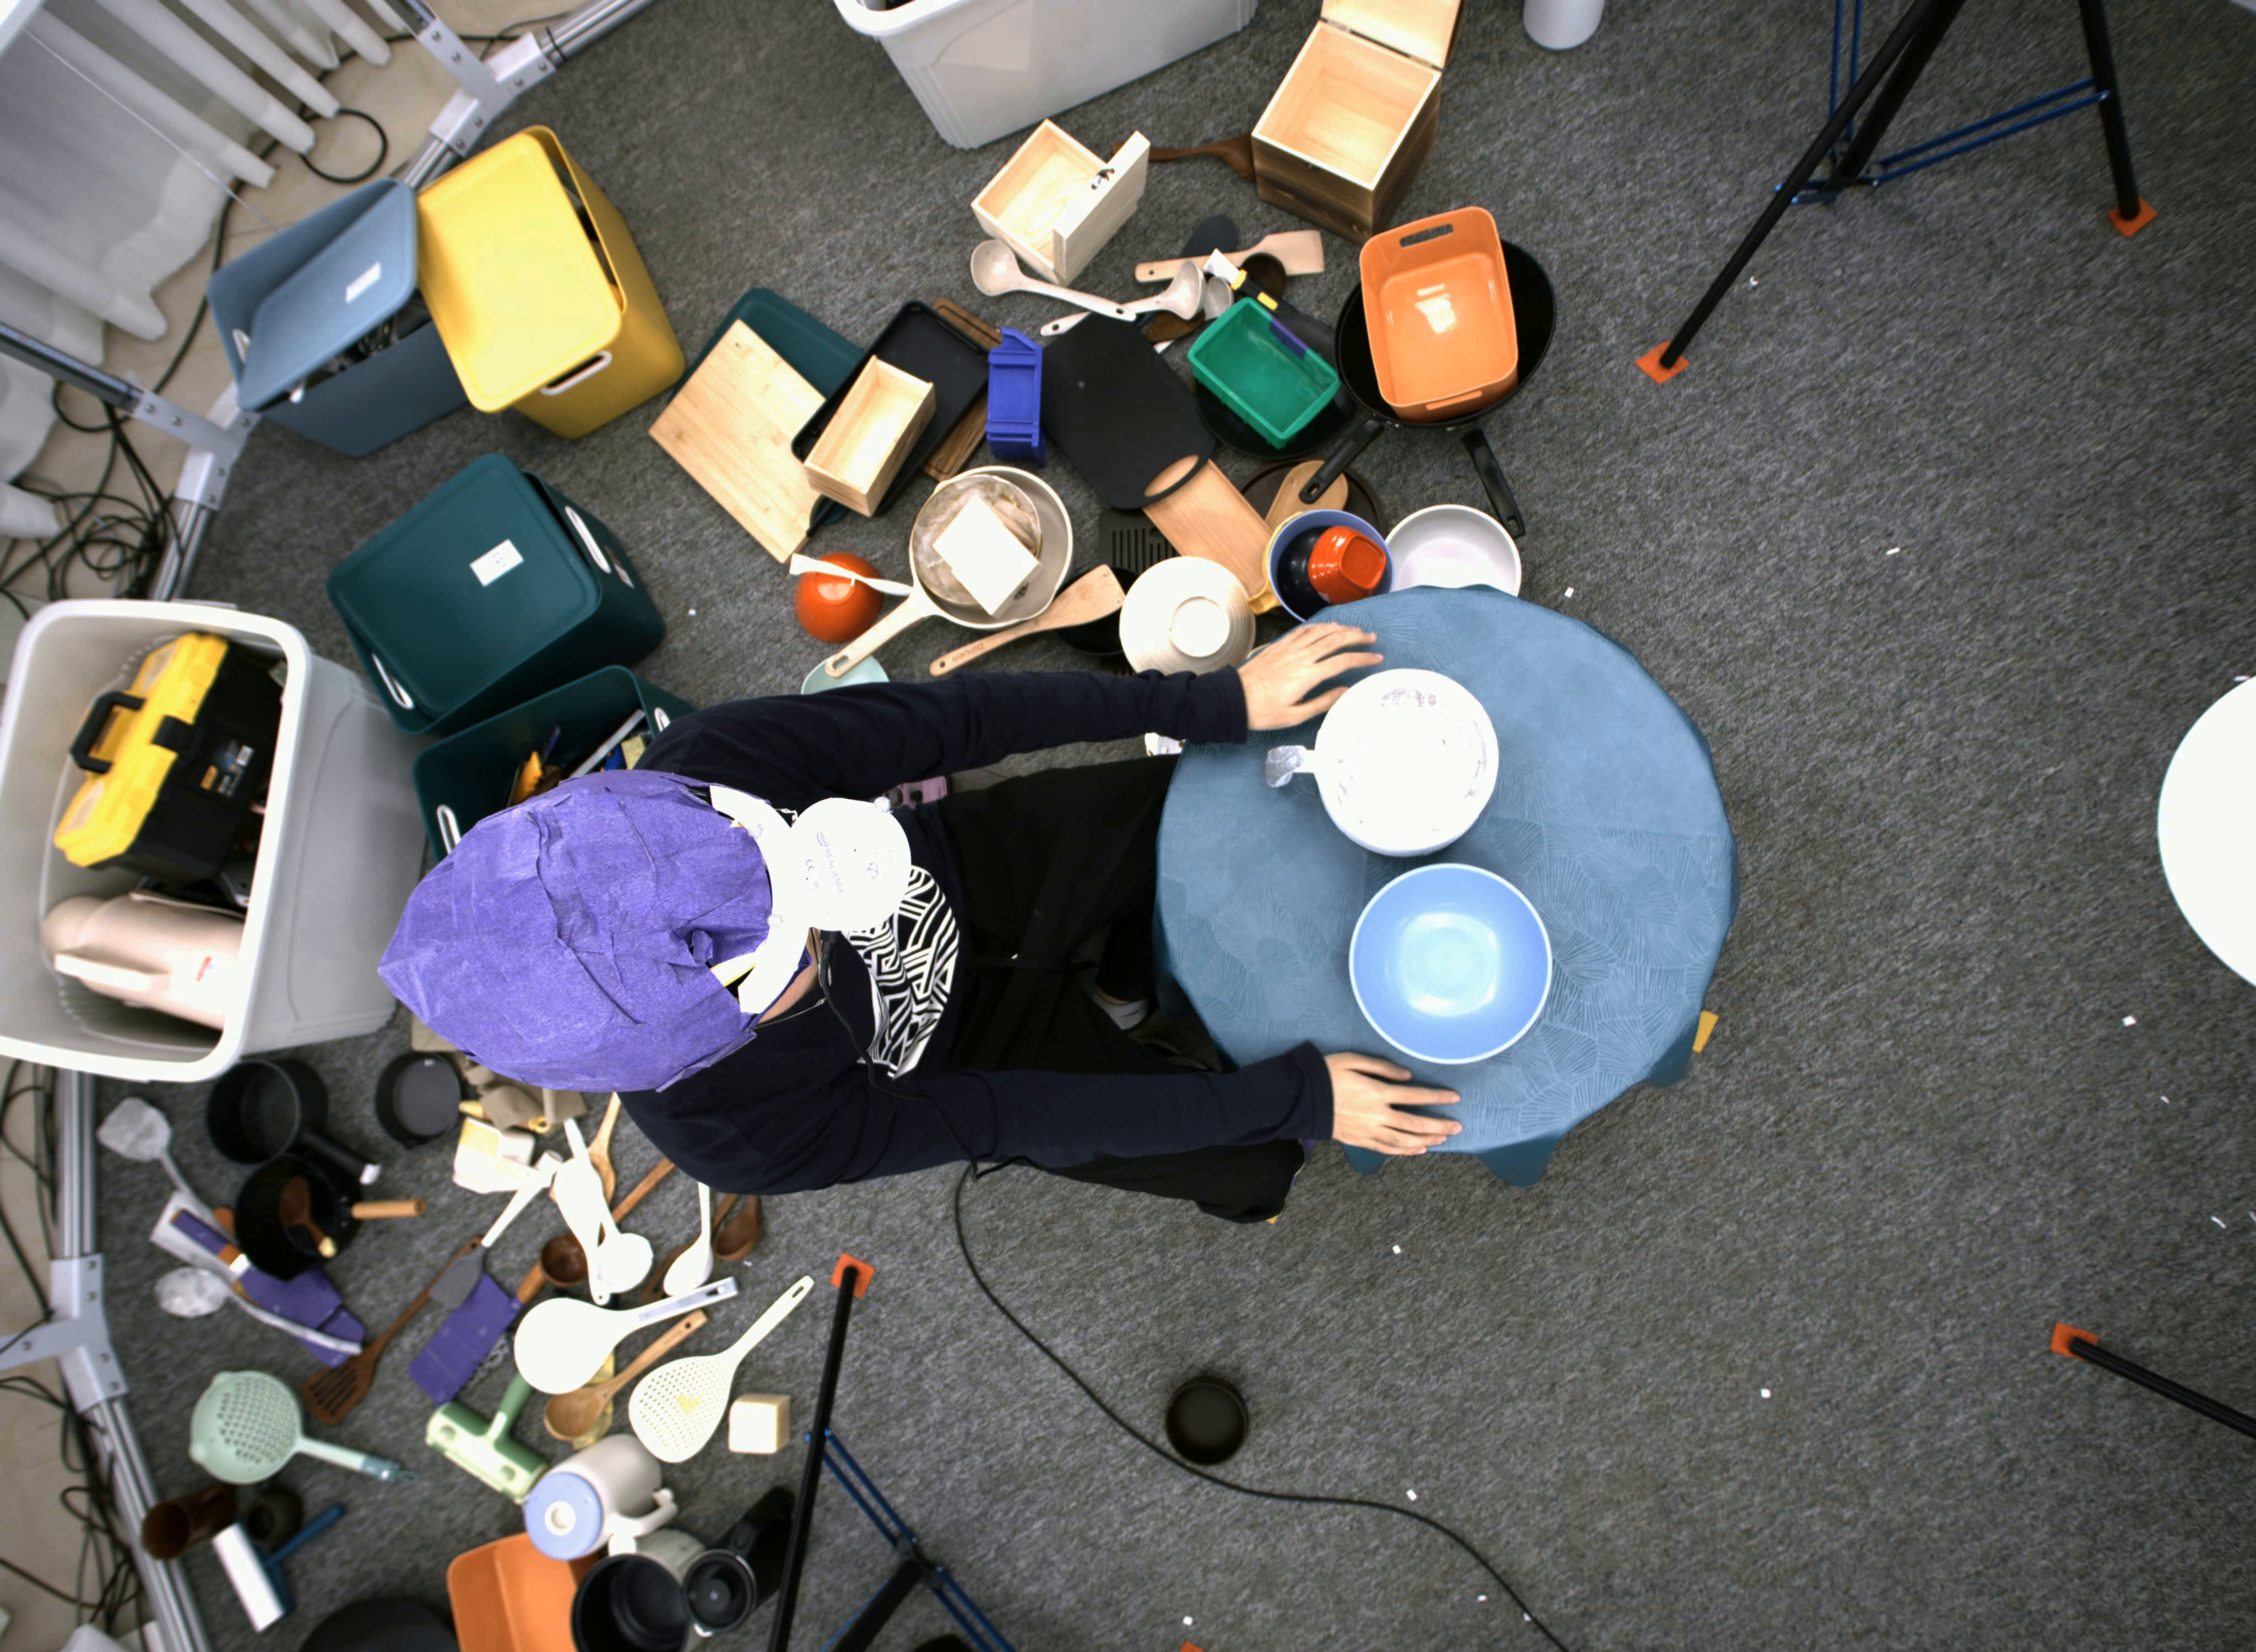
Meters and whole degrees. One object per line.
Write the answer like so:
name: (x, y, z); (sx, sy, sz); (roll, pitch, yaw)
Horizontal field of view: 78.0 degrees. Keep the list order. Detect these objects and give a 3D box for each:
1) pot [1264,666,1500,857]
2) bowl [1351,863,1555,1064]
pot: (0.253, -0.061, 1.400); (0.234, 0.137, 0.177); (0, 83, 10)
bowl: (0.324, 0.136, 1.397); (0.197, 0.095, 0.196); (-1, 88, 9)
